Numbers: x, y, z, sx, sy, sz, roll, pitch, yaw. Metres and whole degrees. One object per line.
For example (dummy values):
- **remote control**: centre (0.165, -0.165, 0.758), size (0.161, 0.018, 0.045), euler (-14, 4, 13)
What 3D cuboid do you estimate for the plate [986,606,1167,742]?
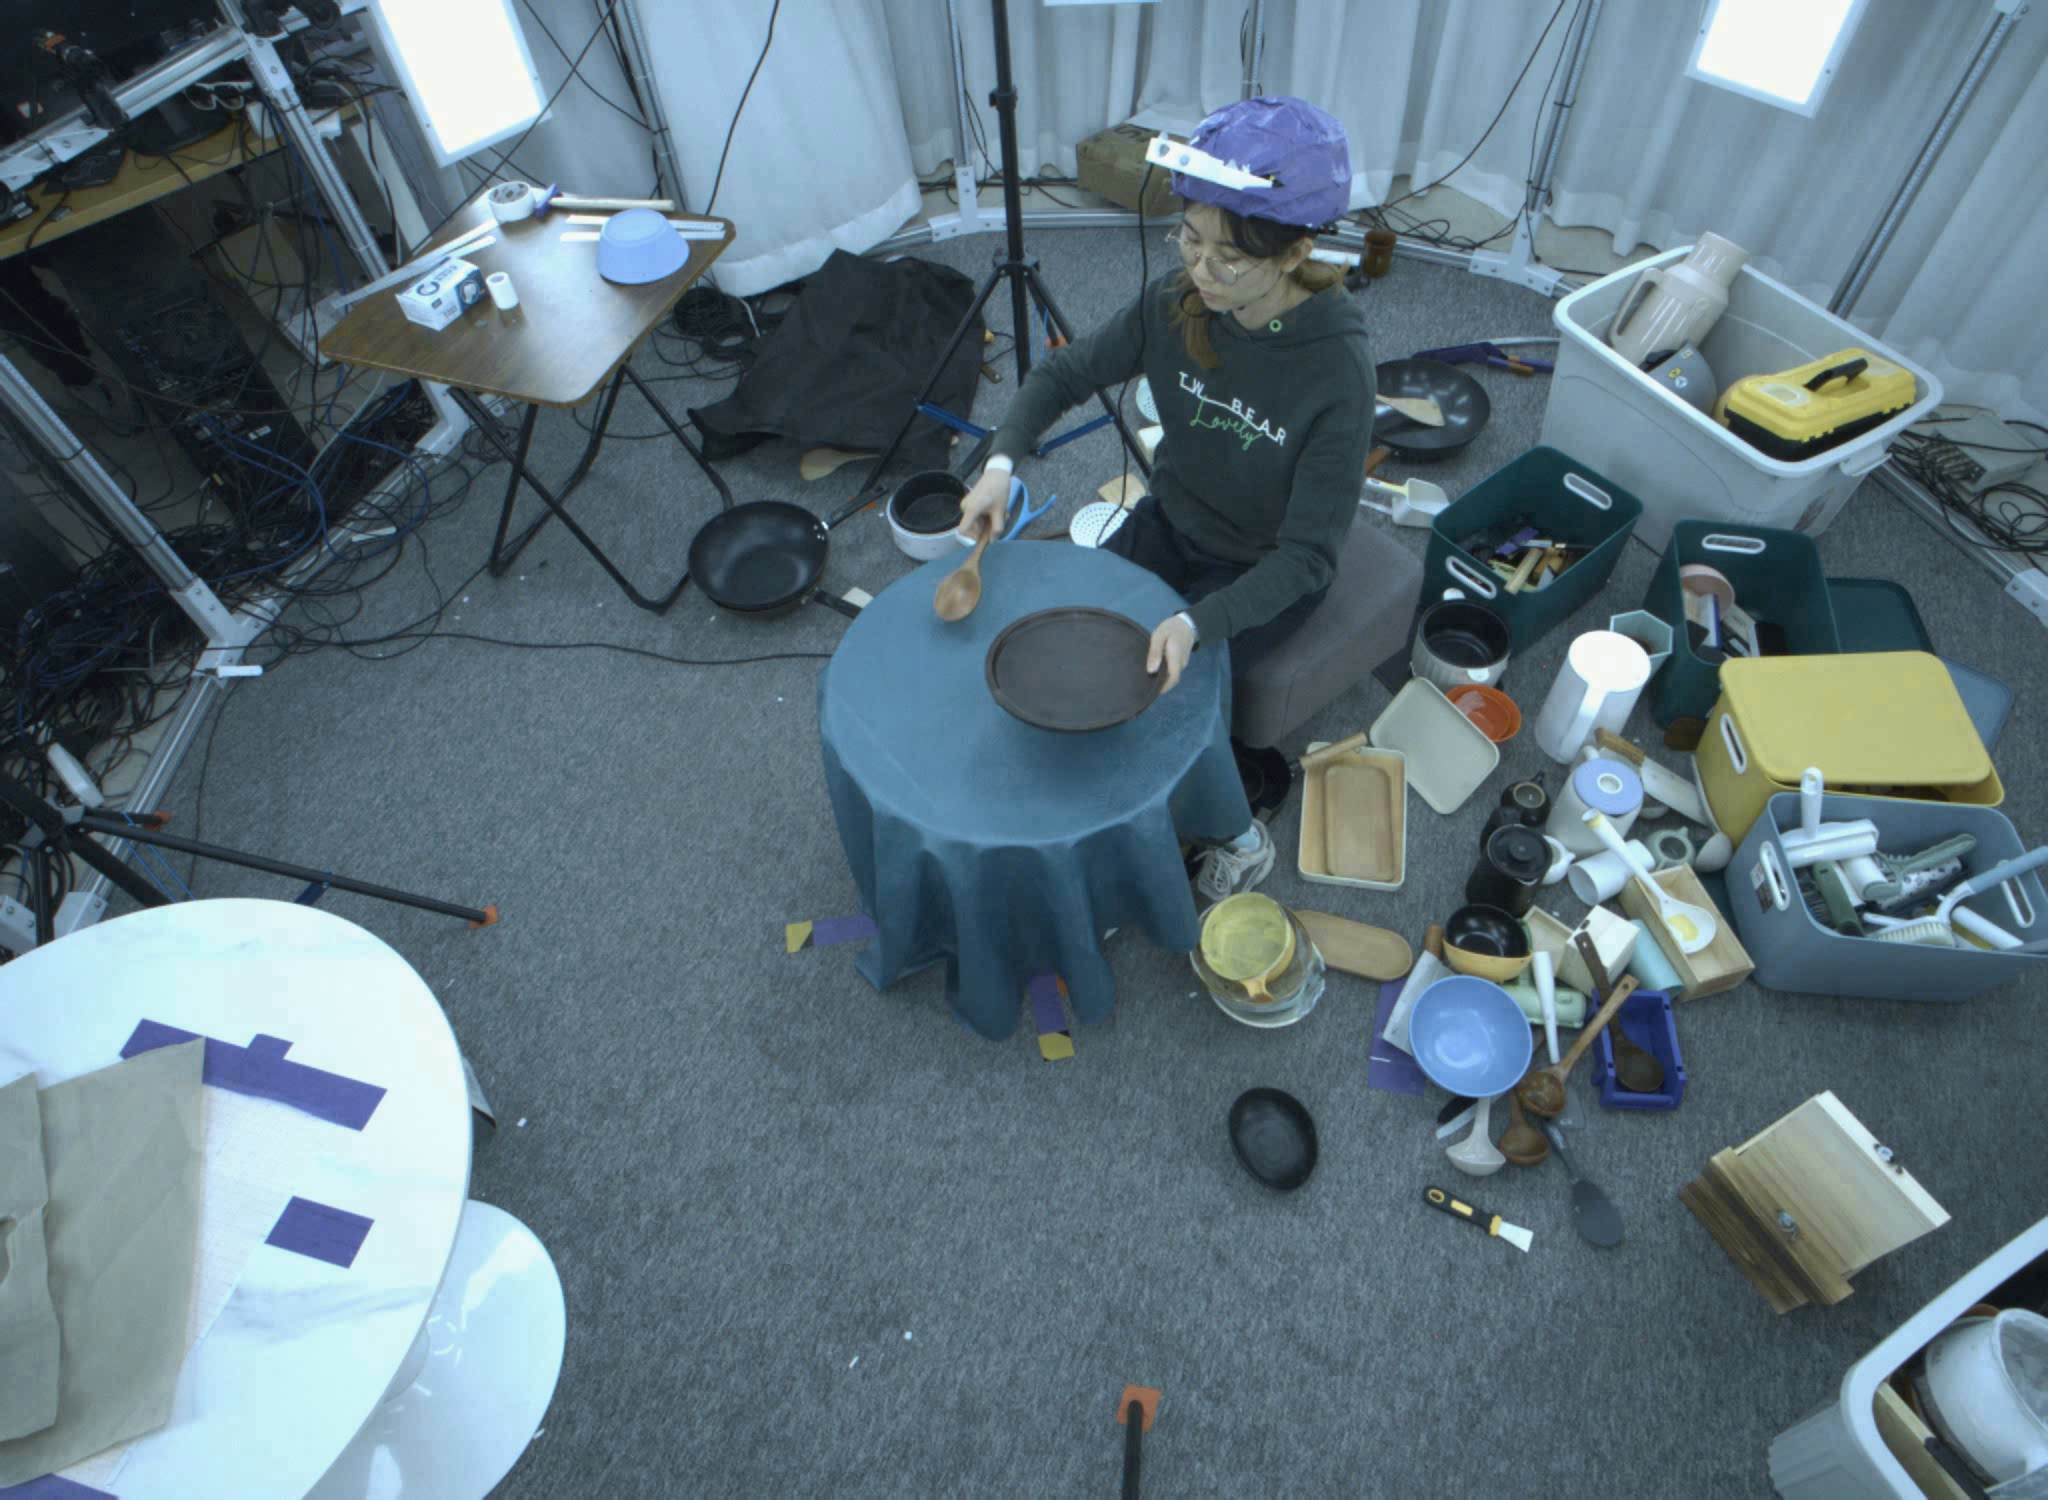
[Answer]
- **plate**: centre (0.074, -0.106, 1.724), size (0.255, 0.029, 0.252), euler (1, 49, 1)

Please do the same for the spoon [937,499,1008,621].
- **spoon**: centre (-0.074, -0.297, 1.917), size (0.074, 0.017, 0.215), euler (18, 78, 18)
